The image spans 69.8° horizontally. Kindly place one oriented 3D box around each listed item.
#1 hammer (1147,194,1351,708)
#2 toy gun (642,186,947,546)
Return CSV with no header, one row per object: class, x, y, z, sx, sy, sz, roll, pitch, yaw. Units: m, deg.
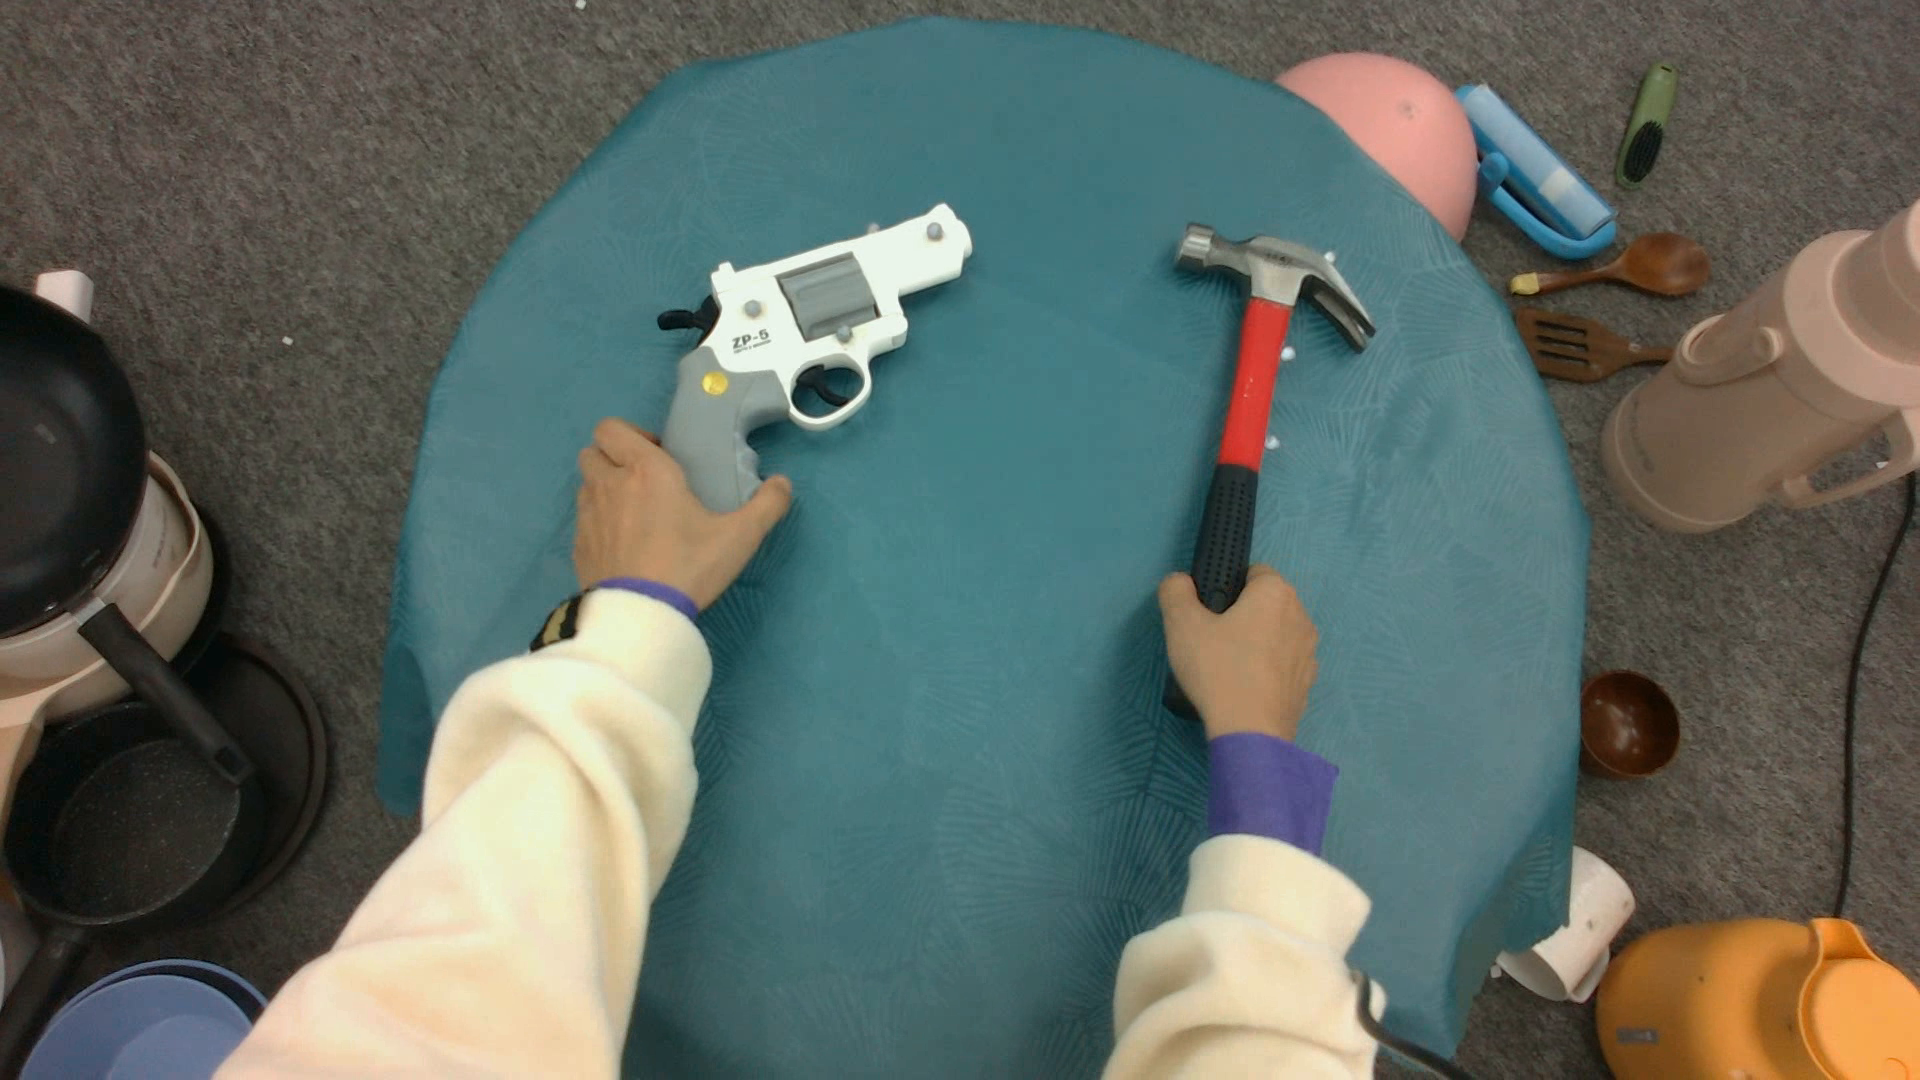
hammer,0.134,-0.048,0.698,0.111,0.026,0.278,19,65,-10
toy gun,-0.081,-0.093,0.695,0.209,0.038,0.142,-24,74,-15
